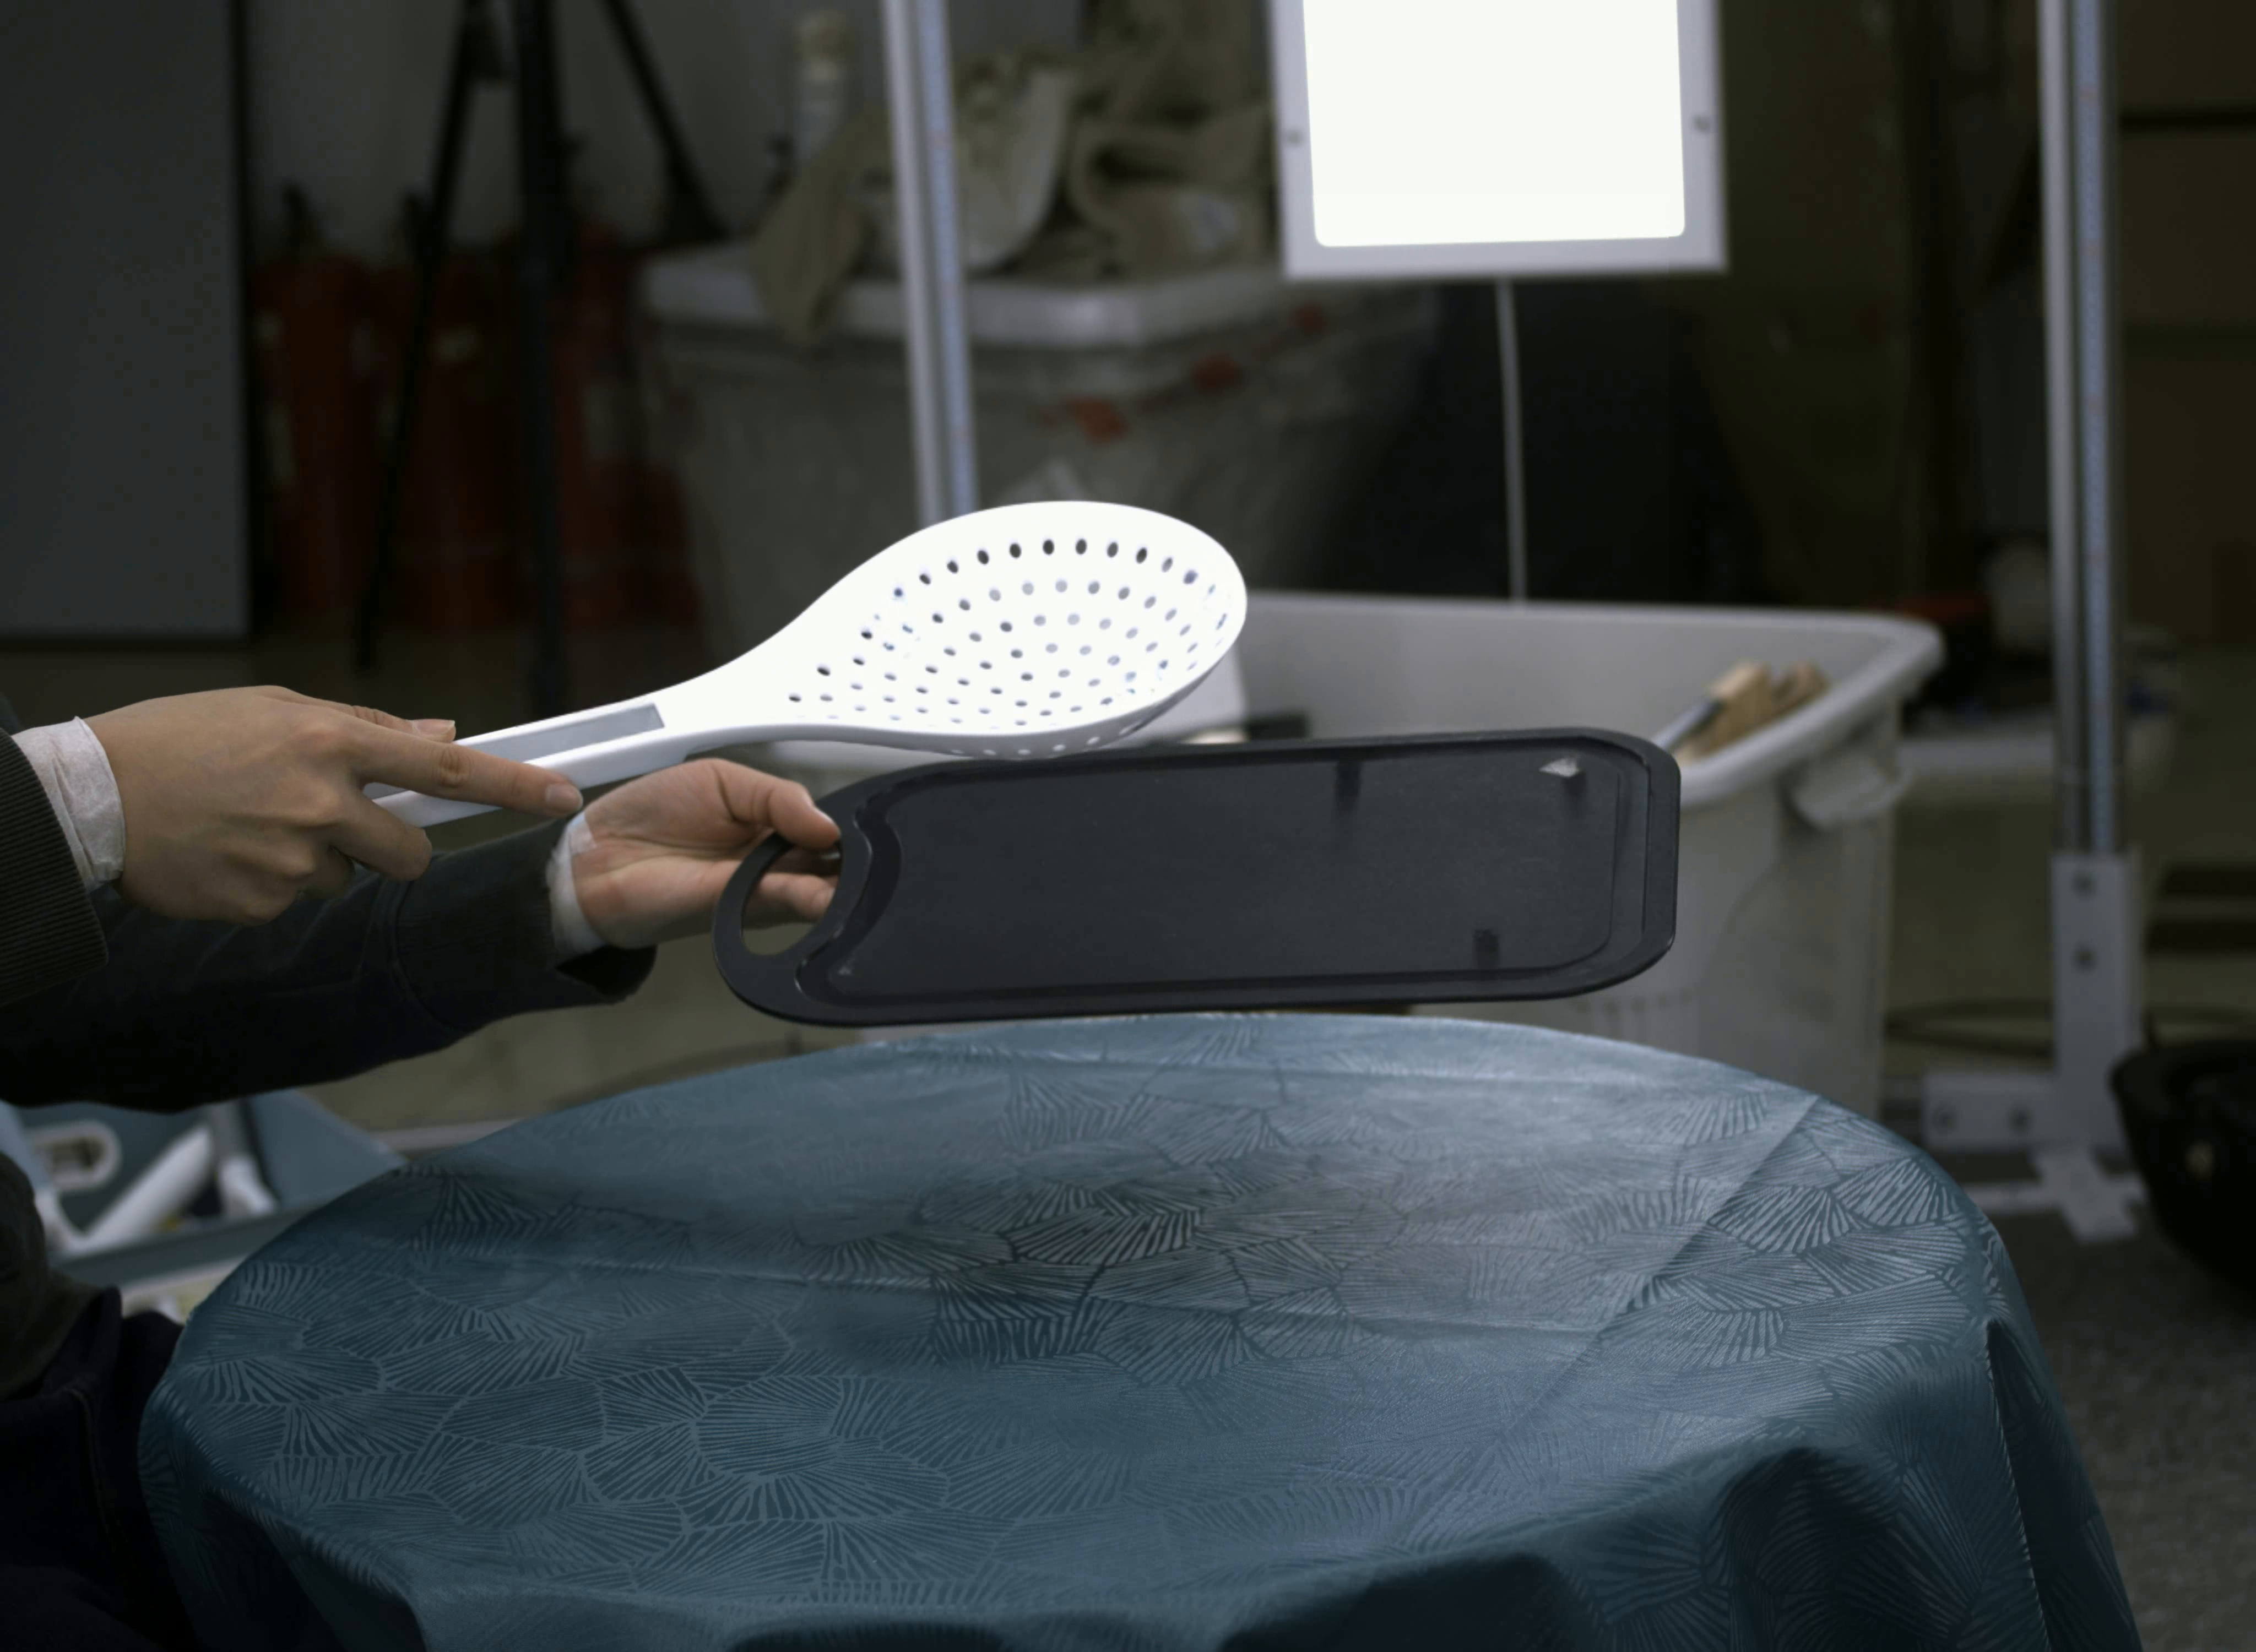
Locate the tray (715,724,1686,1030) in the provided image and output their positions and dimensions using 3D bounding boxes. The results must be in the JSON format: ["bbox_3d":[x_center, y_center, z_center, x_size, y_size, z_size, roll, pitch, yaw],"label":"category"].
[{"bbox_3d":[0.023,0.014,1.836,0.327,0.010,0.209,-3,25,10],"label":"tray"}]

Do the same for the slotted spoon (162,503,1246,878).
[{"bbox_3d":[-0.131,-0.036,1.737,0.345,0.046,0.137,-11,33,-12],"label":"slotted spoon"}]
